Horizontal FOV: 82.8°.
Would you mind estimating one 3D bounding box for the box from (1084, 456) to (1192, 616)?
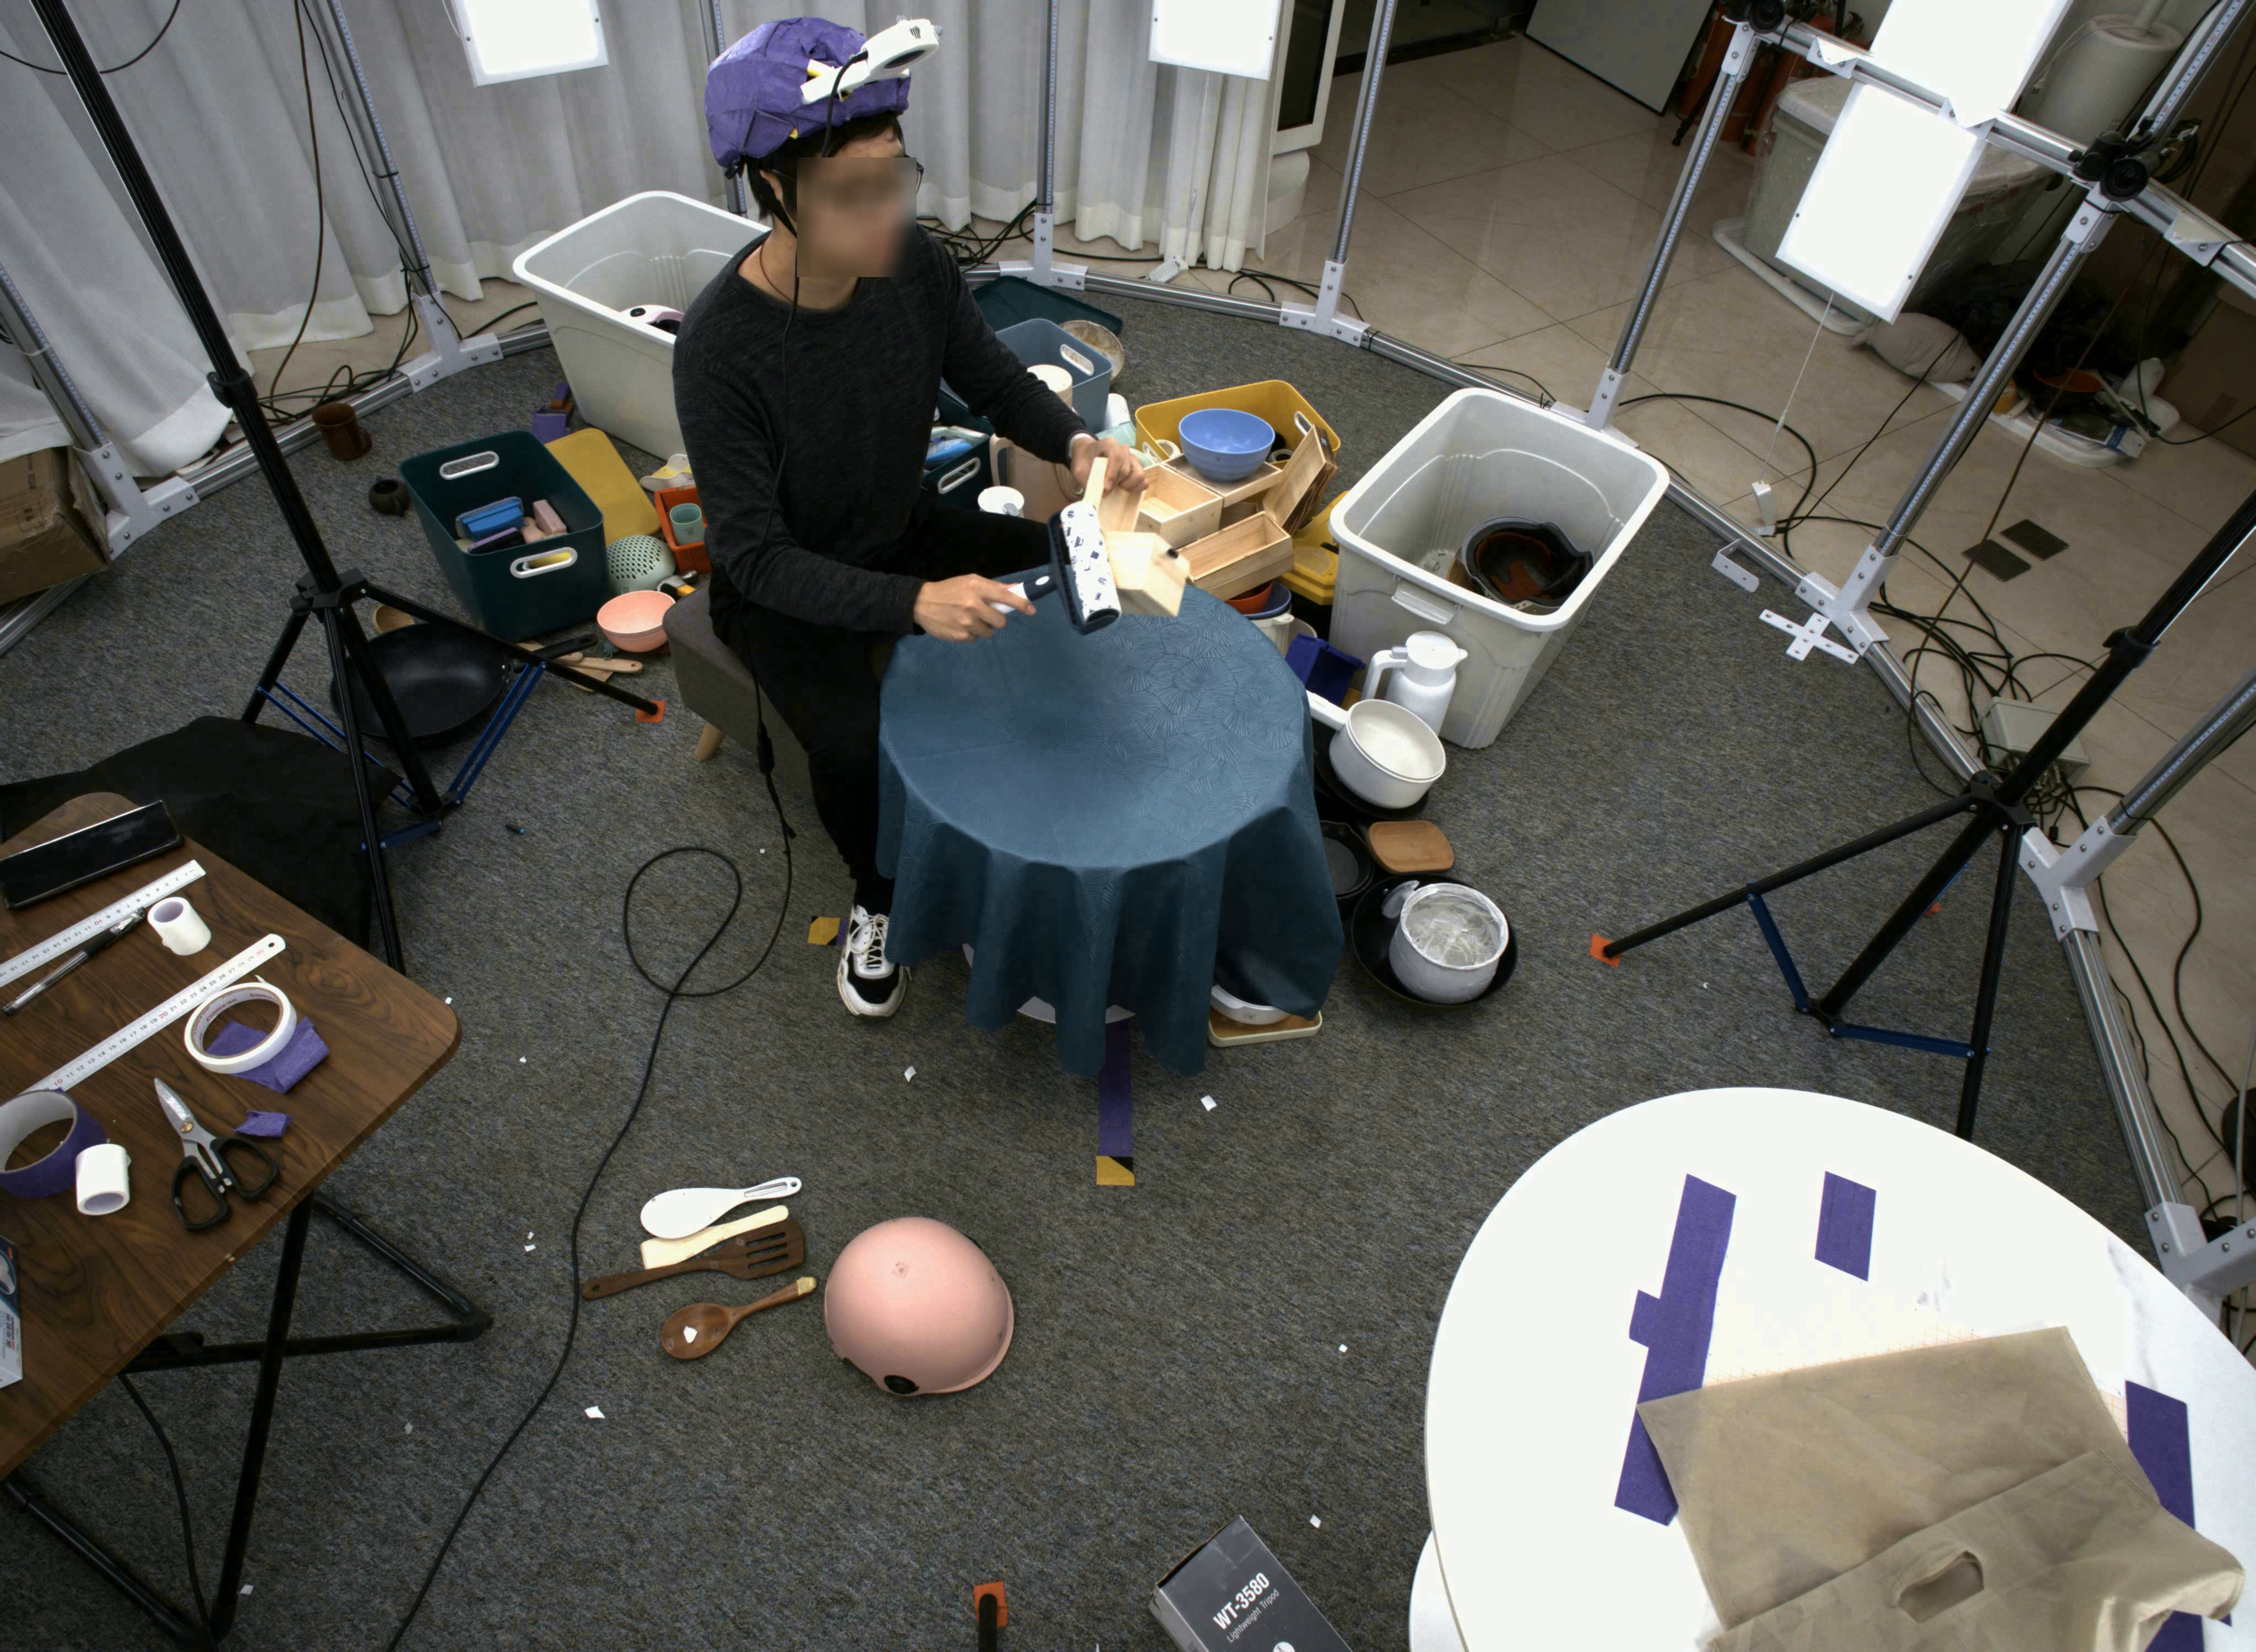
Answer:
[{"bbox_3d":[0.015,-0.385,1.706,0.135,0.101,0.186,8,80,32],"label":"box"}]

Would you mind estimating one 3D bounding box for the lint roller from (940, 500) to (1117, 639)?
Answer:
[{"bbox_3d":[-0.141,-0.300,1.671,0.246,0.049,0.179,-21,67,17],"label":"lint roller"}]
